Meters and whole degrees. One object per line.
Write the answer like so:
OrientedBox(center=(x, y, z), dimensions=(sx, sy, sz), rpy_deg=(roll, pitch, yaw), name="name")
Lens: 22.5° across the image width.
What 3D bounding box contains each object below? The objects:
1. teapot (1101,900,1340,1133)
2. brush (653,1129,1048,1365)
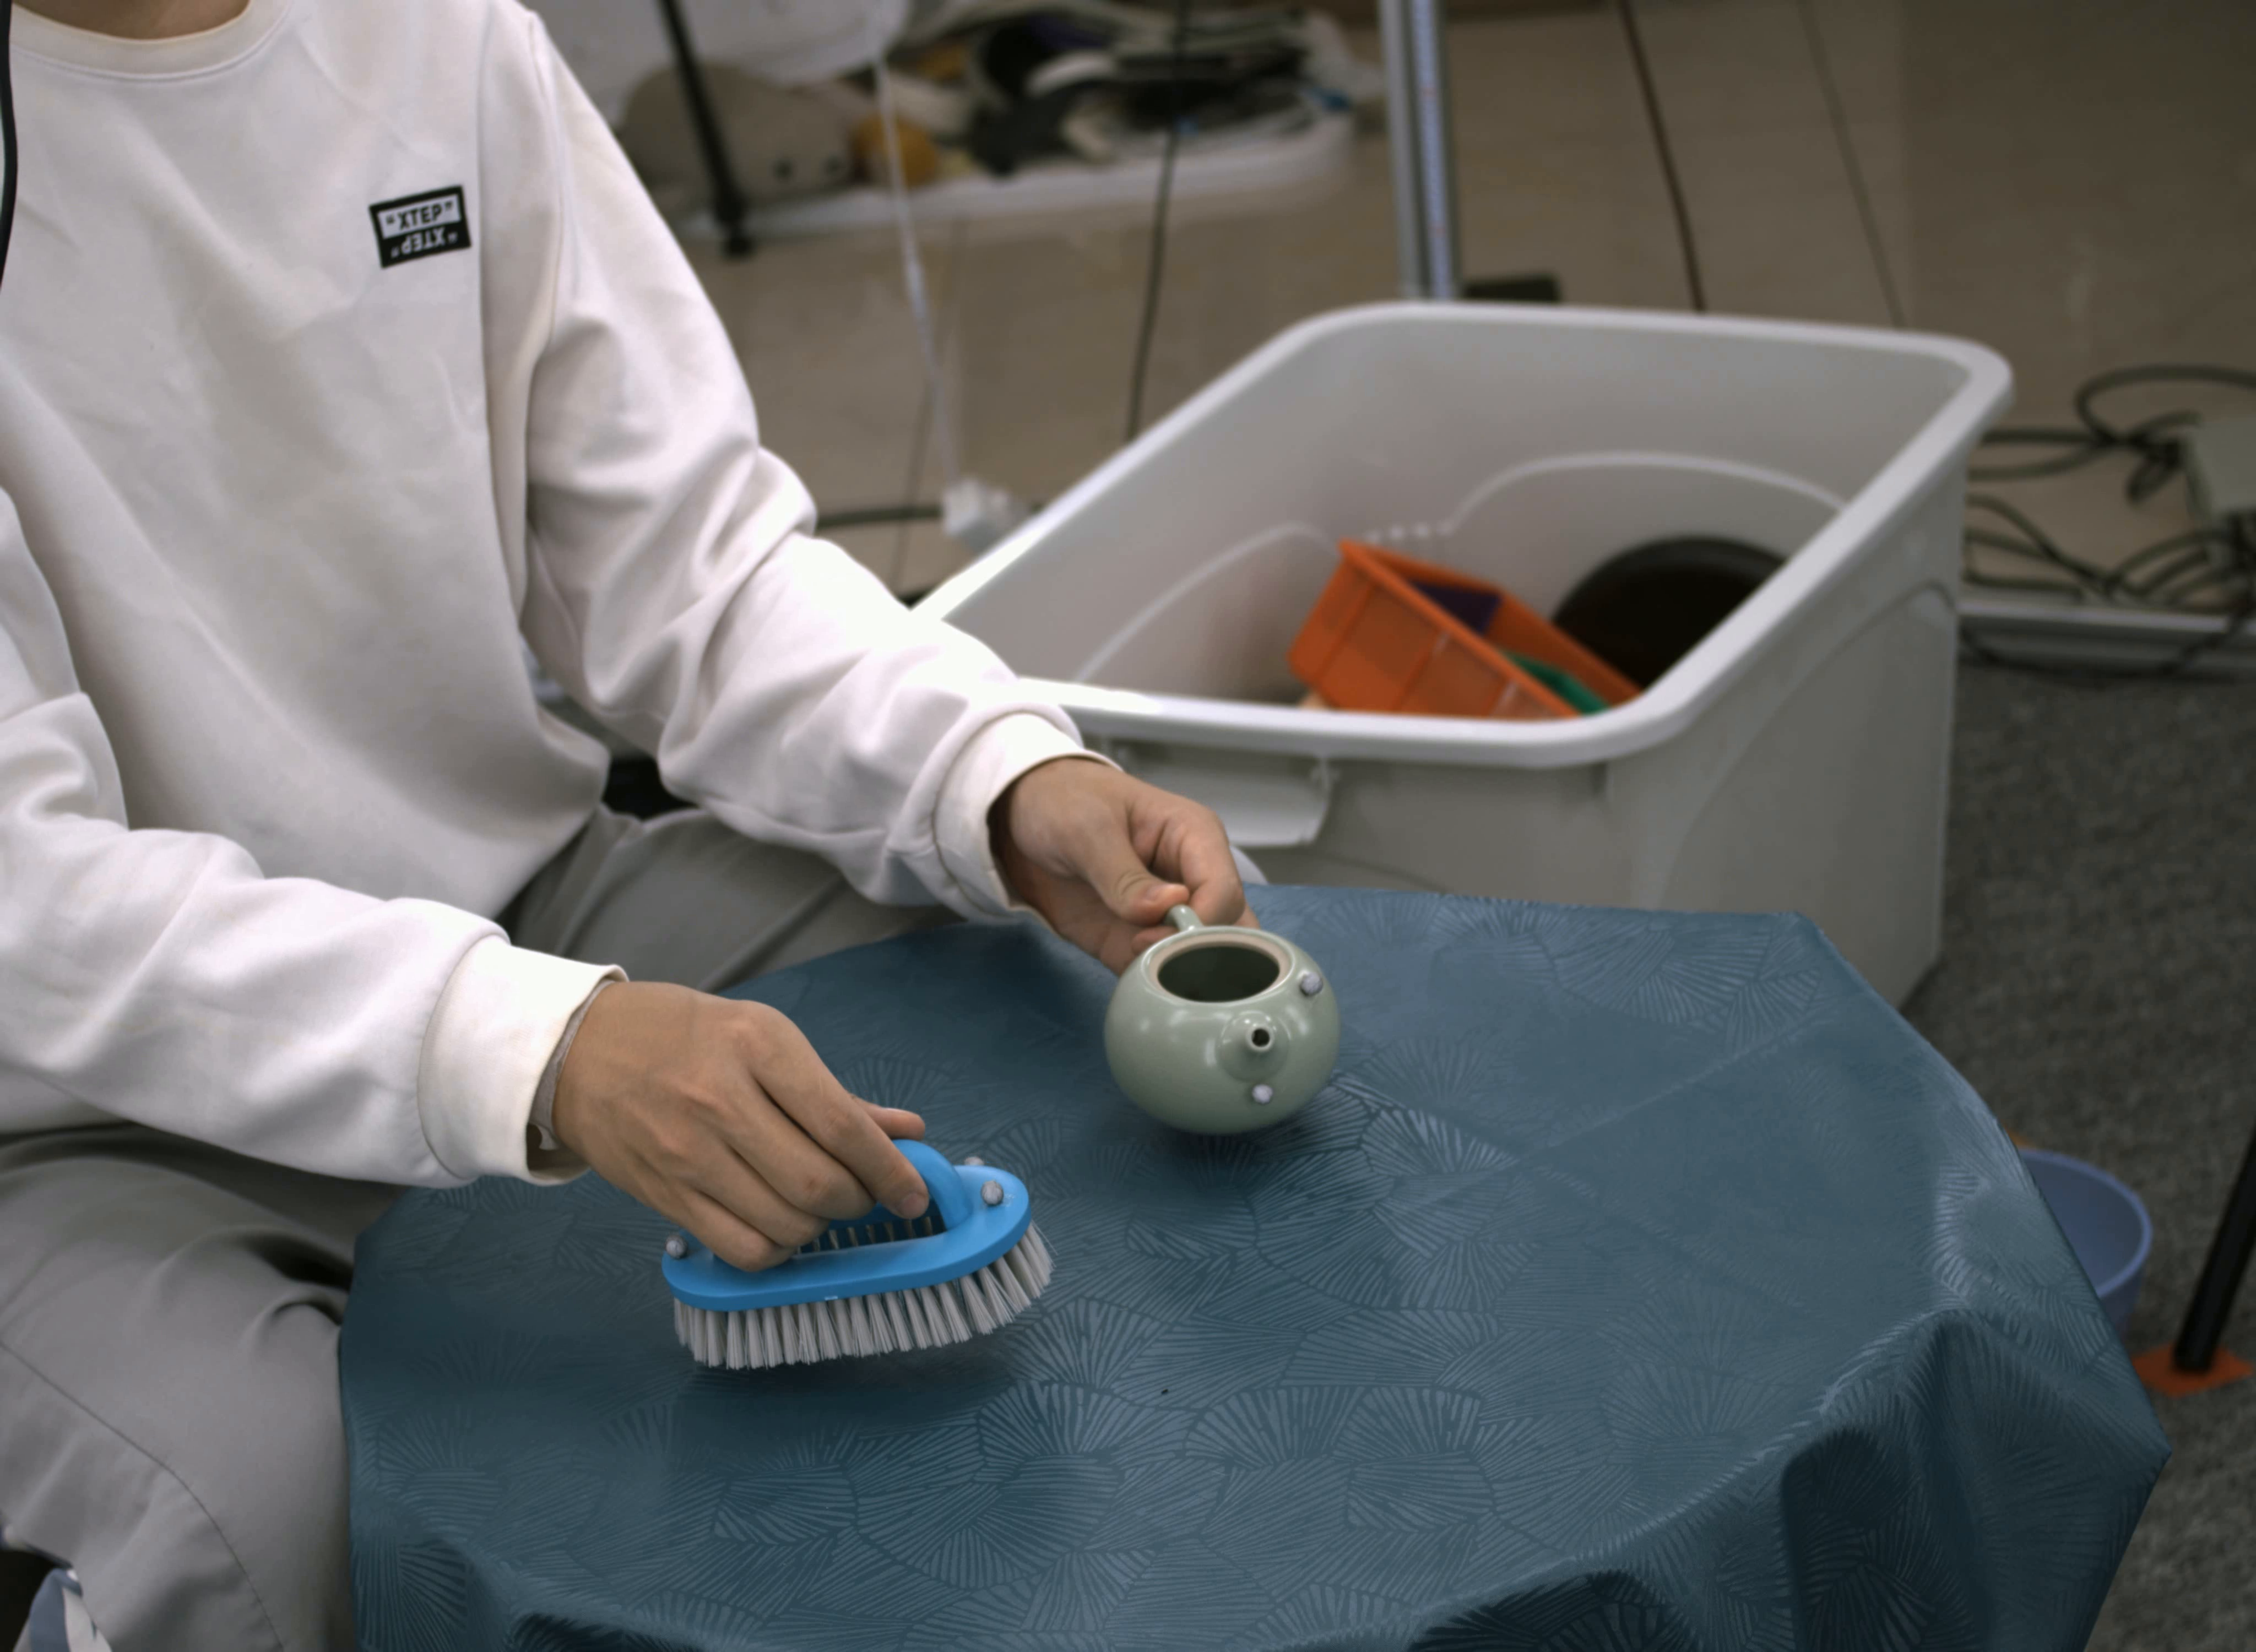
OrientedBox(center=(0.033, 0.073, 2.177), dimensions=(0.091, 0.062, 0.126), rpy_deg=(-11, 29, -8), name="teapot")
OrientedBox(center=(-0.104, 0.142, 2.036), dimensions=(0.141, 0.065, 0.083), rpy_deg=(-8, 31, 13), name="brush")
